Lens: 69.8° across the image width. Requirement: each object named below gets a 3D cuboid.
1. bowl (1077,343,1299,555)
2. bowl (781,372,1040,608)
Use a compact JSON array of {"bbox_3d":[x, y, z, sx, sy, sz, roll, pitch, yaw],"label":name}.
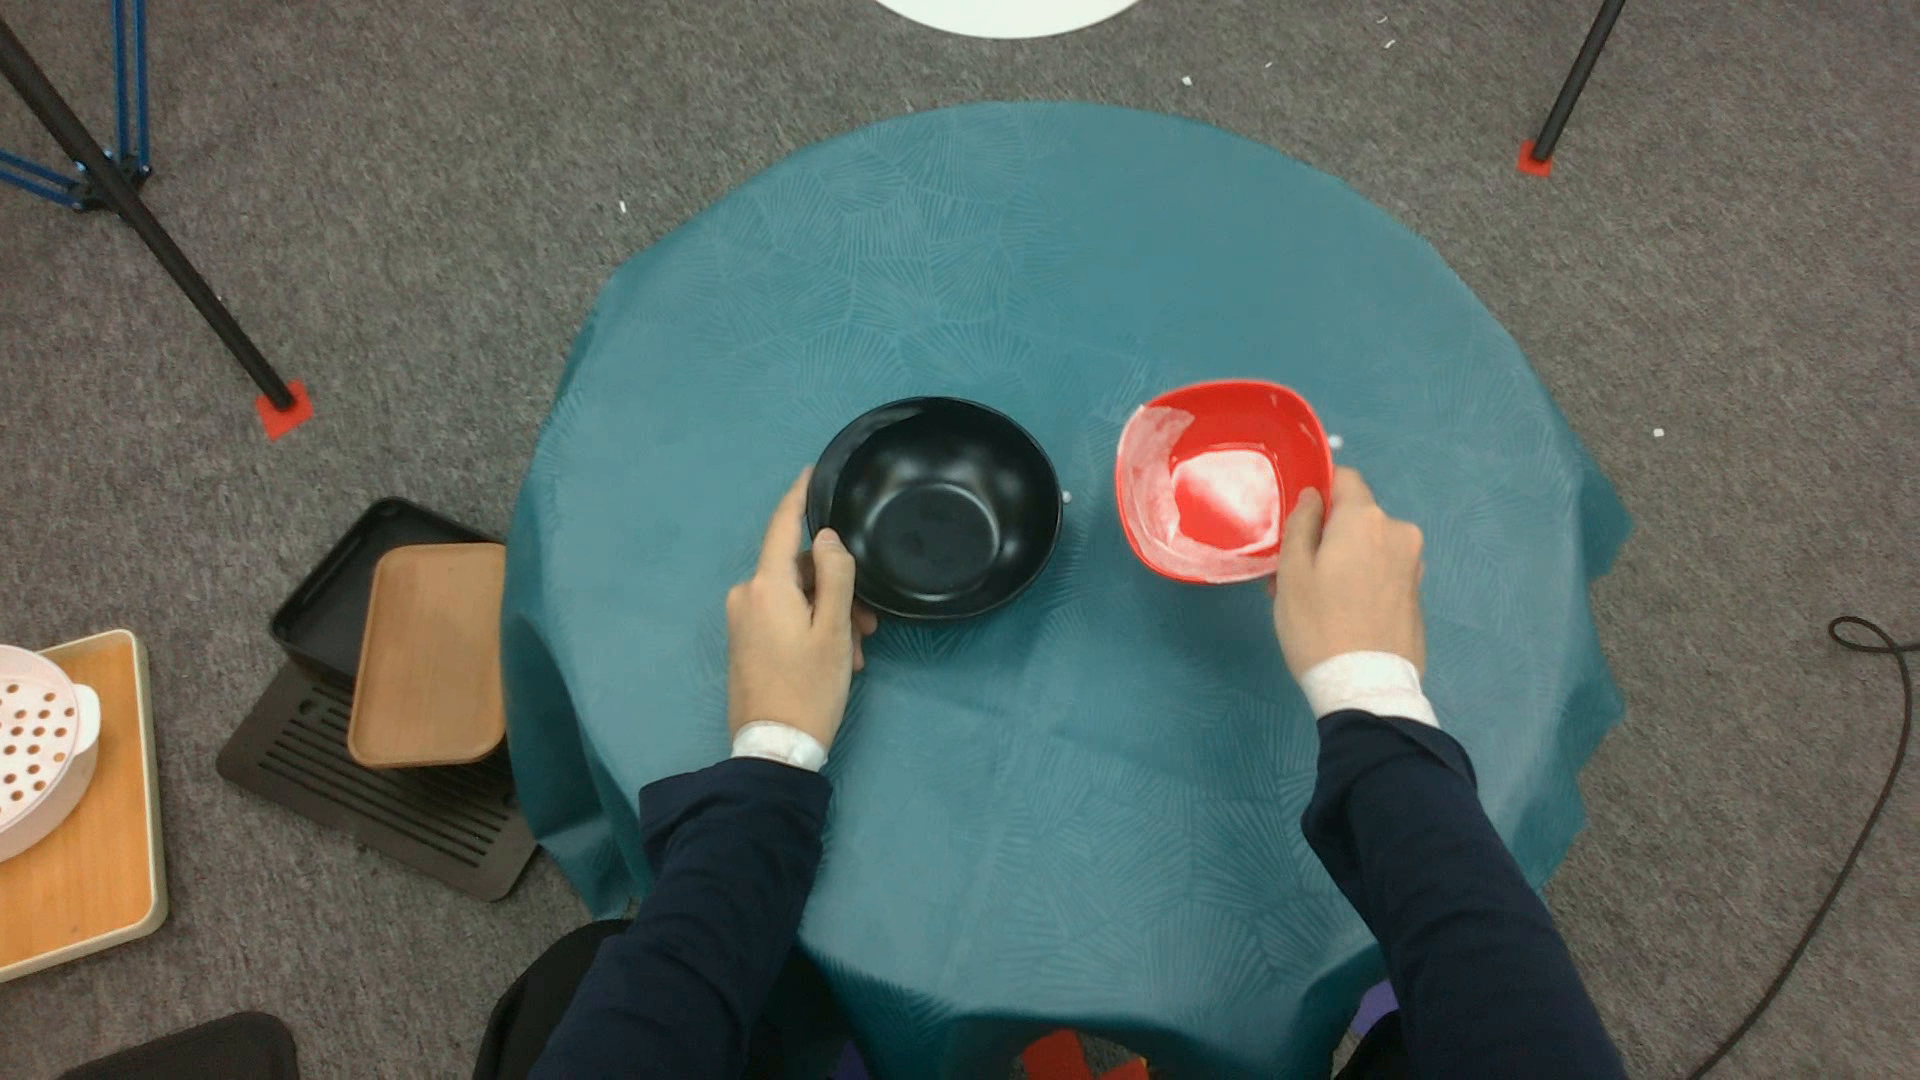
[{"bbox_3d":[0.120,-0.042,0.720,0.119,0.051,0.119,-3,76,13],"label":"bowl"},{"bbox_3d":[-0.027,-0.021,0.756,0.140,0.049,0.140,1,64,-2],"label":"bowl"}]
